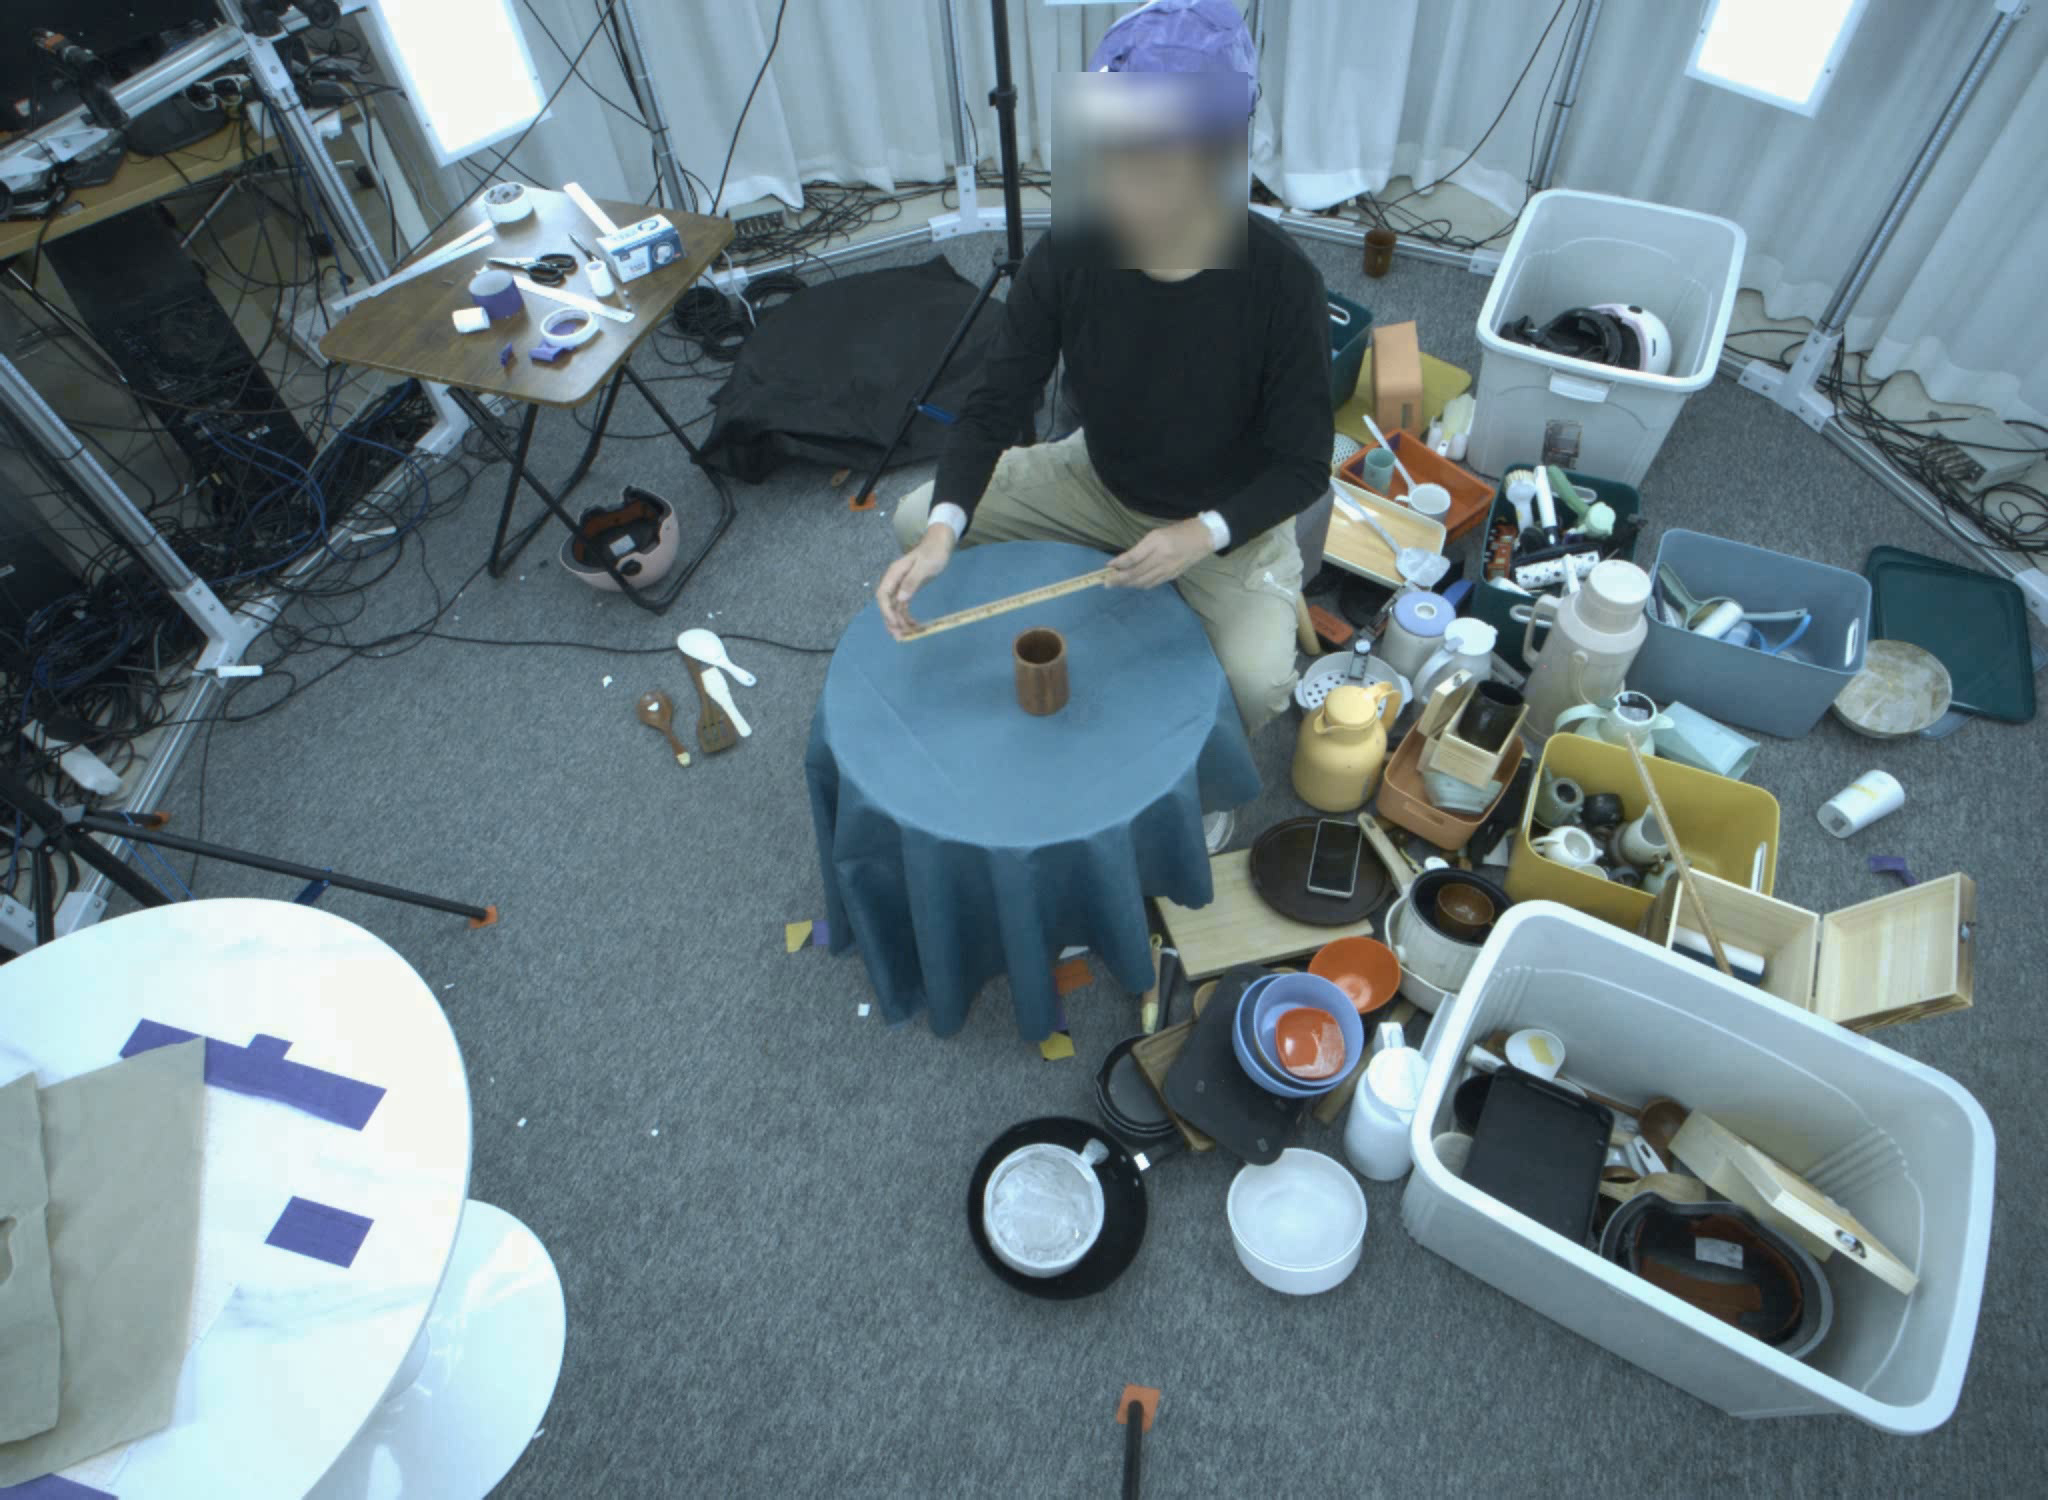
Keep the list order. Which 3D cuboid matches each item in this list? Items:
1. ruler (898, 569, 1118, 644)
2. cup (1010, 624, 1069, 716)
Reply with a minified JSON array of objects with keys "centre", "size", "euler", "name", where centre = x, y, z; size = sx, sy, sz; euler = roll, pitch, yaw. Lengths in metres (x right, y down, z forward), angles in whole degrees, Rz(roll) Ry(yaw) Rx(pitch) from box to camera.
[{"centre":[-0.023,-0.213,1.787],"size":[0.333,0.022,0.027],"euler":[-17,53,-8],"name":"ruler"},{"centre":[0.023,-0.117,1.798],"size":[0.087,0.119,0.087],"euler":[-1,55,2],"name":"cup"}]
